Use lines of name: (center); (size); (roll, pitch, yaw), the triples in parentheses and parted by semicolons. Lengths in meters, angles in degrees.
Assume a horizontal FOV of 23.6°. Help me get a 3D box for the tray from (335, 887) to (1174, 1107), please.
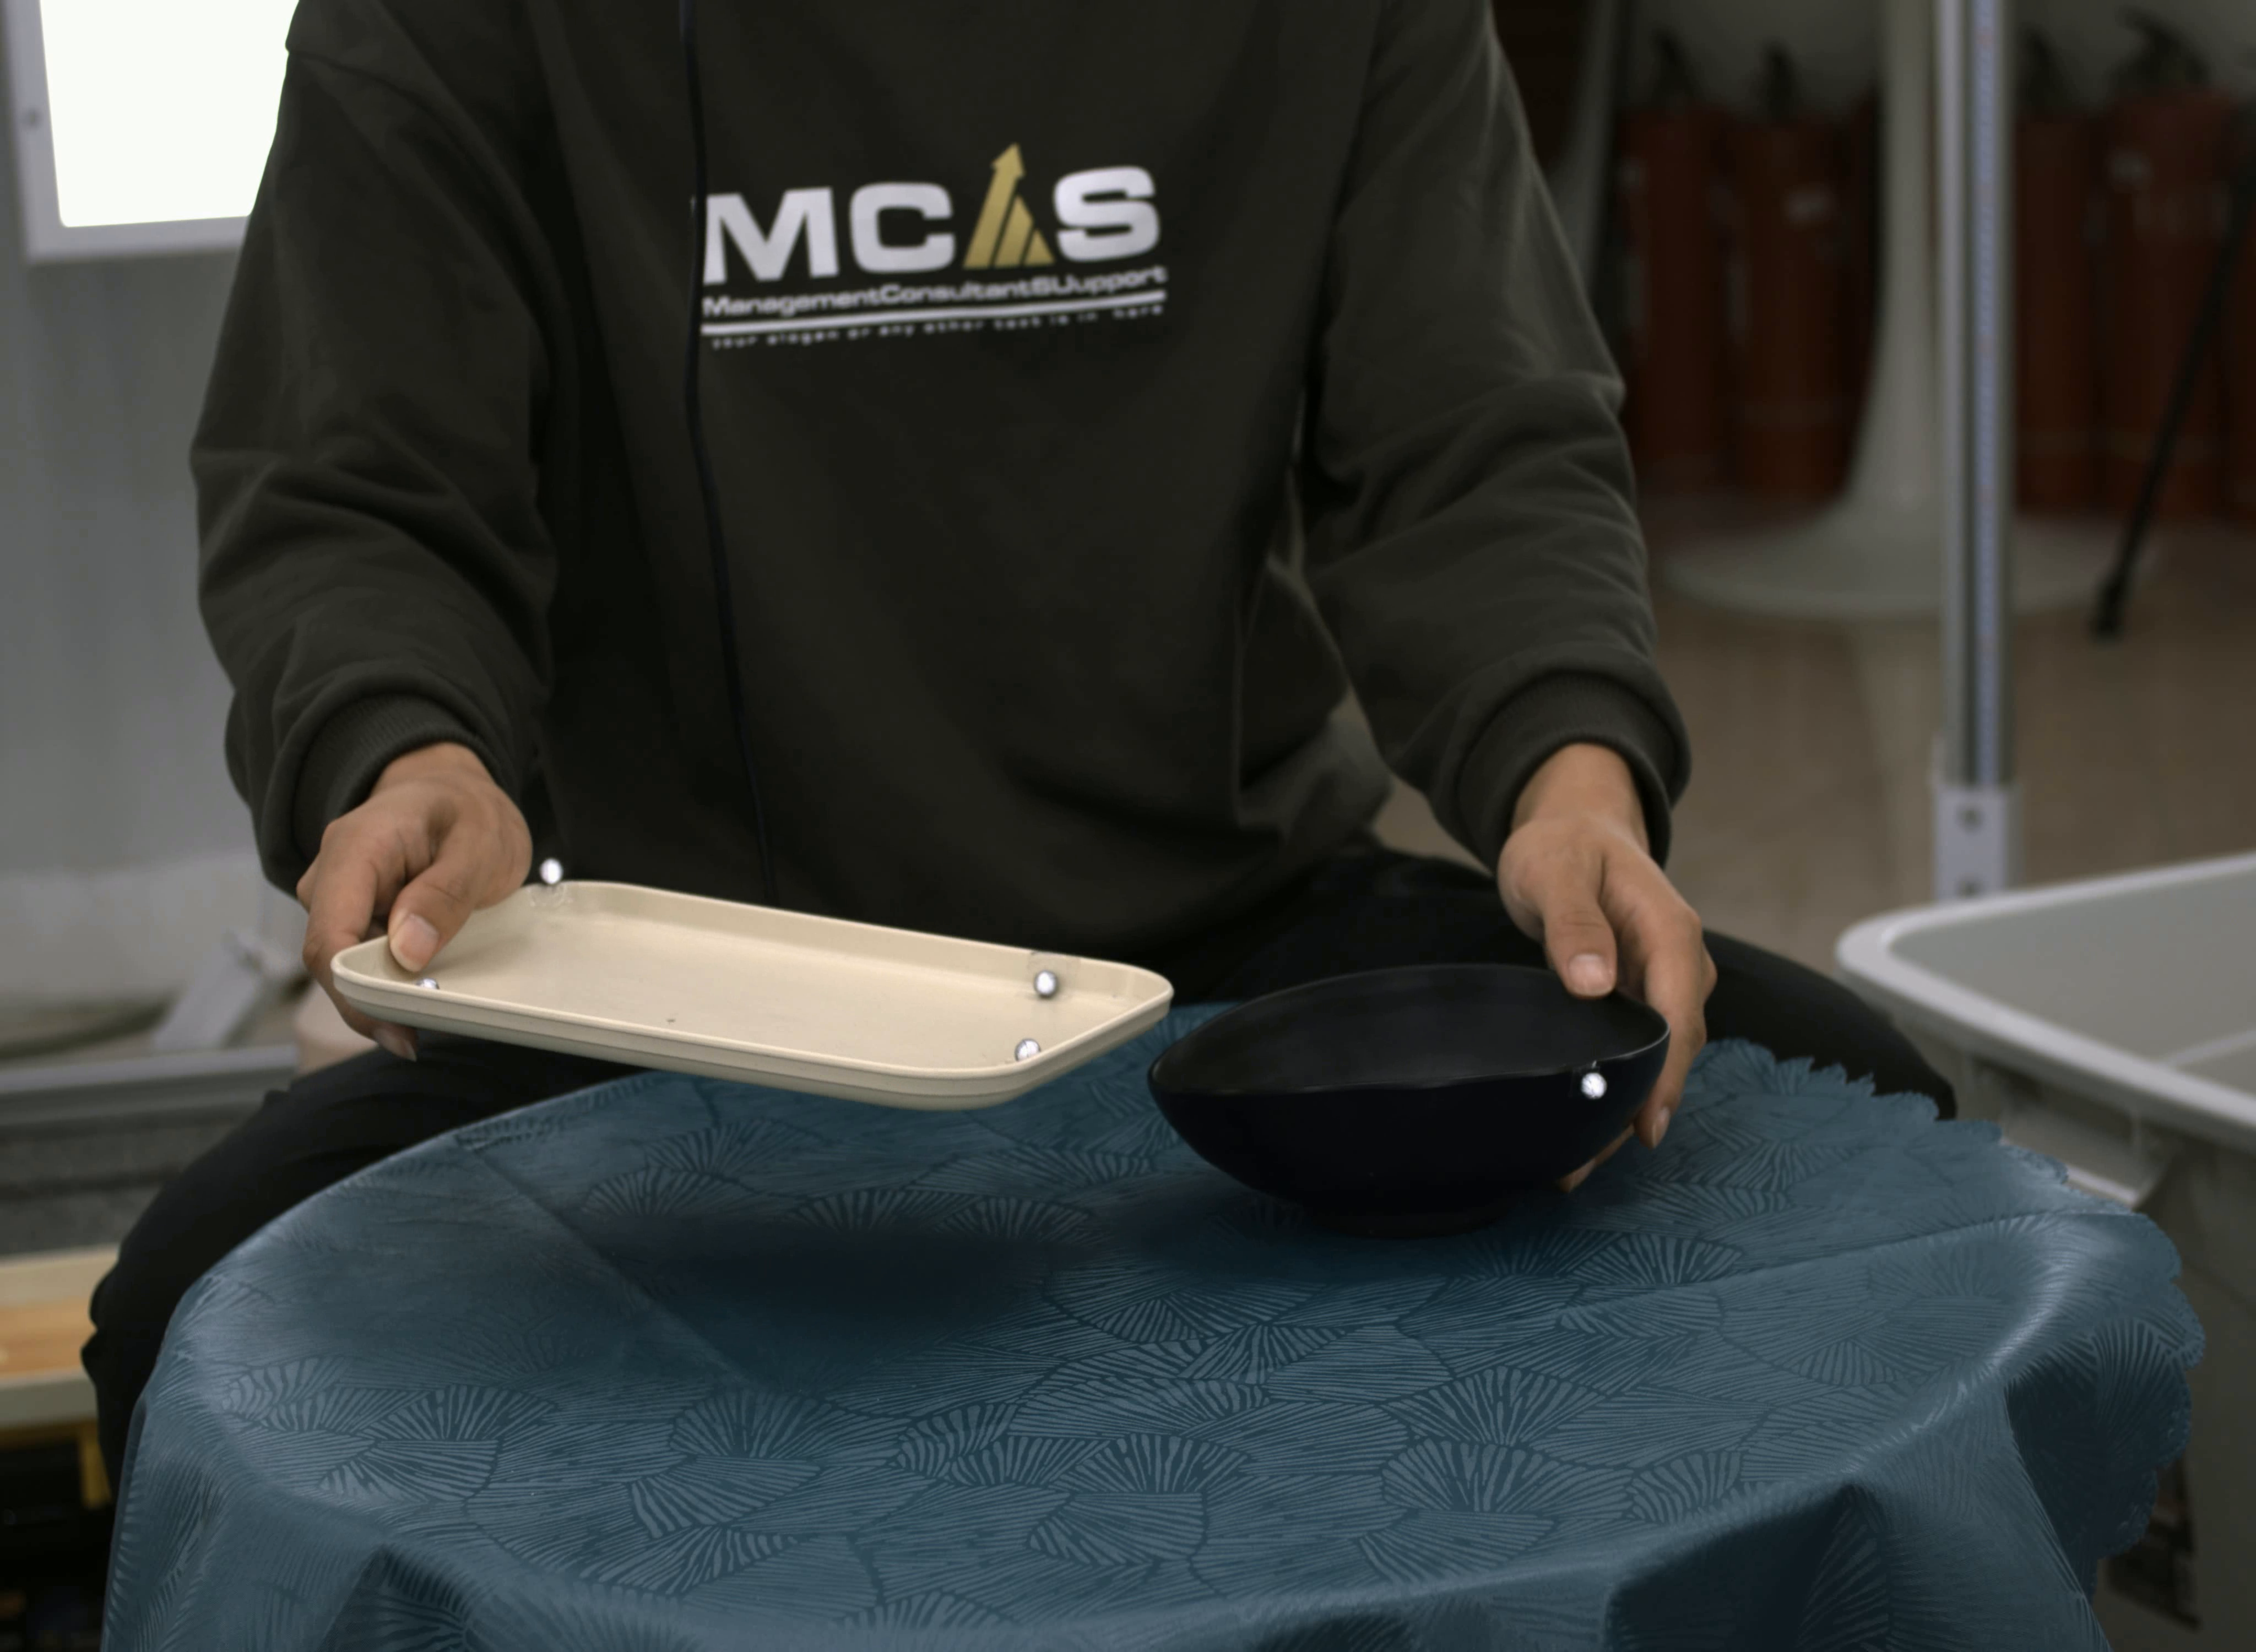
tray: (-0.116, 0.053, 1.704); (0.240, 0.018, 0.169); (8, 12, 23)

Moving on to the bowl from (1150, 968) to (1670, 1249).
bowl: (0.092, 0.095, 1.729); (0.168, 0.067, 0.137); (-5, 12, 4)
